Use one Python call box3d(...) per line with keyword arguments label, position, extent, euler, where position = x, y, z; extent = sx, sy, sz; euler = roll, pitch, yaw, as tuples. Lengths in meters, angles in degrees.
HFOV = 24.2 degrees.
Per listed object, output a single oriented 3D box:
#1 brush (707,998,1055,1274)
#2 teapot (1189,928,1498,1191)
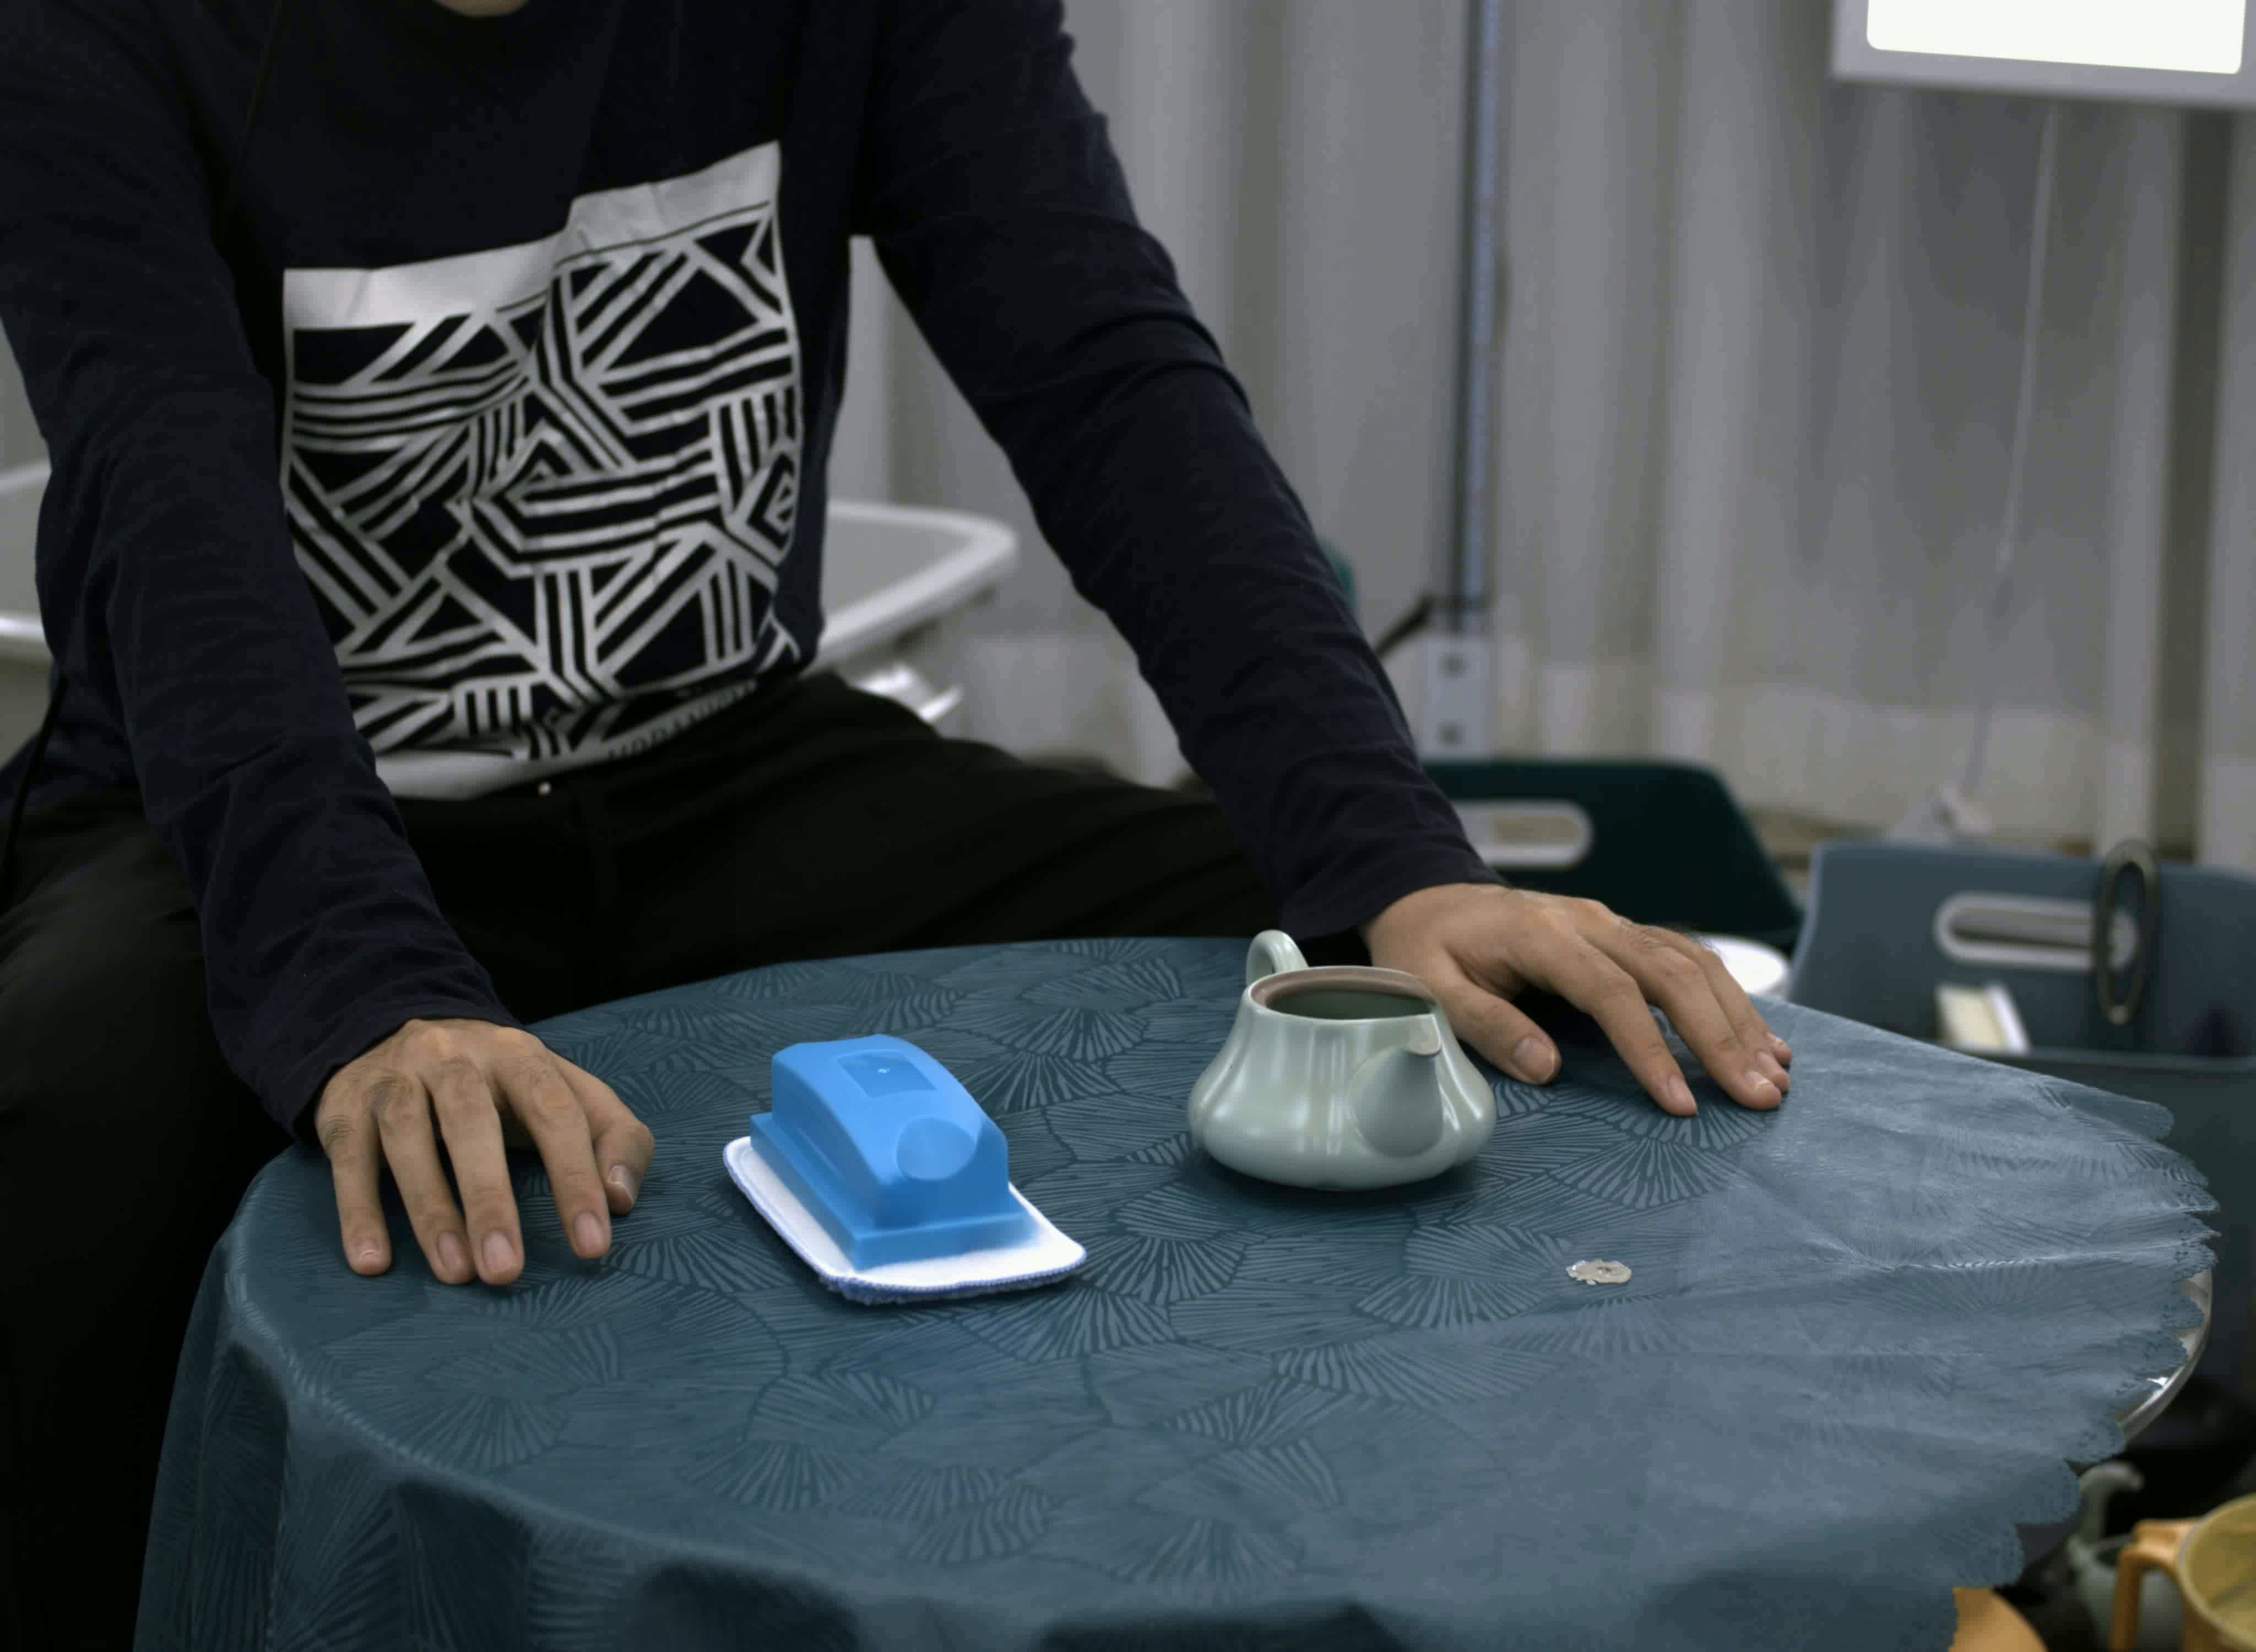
box3d(label="brush", position=(-0.073, 0.091, 1.586), extent=(0.084, 0.056, 0.142), euler=(-1, 18, -18))
box3d(label="teapot", position=(0.065, 0.076, 1.648), extent=(0.096, 0.062, 0.135), euler=(-8, 19, -22))
